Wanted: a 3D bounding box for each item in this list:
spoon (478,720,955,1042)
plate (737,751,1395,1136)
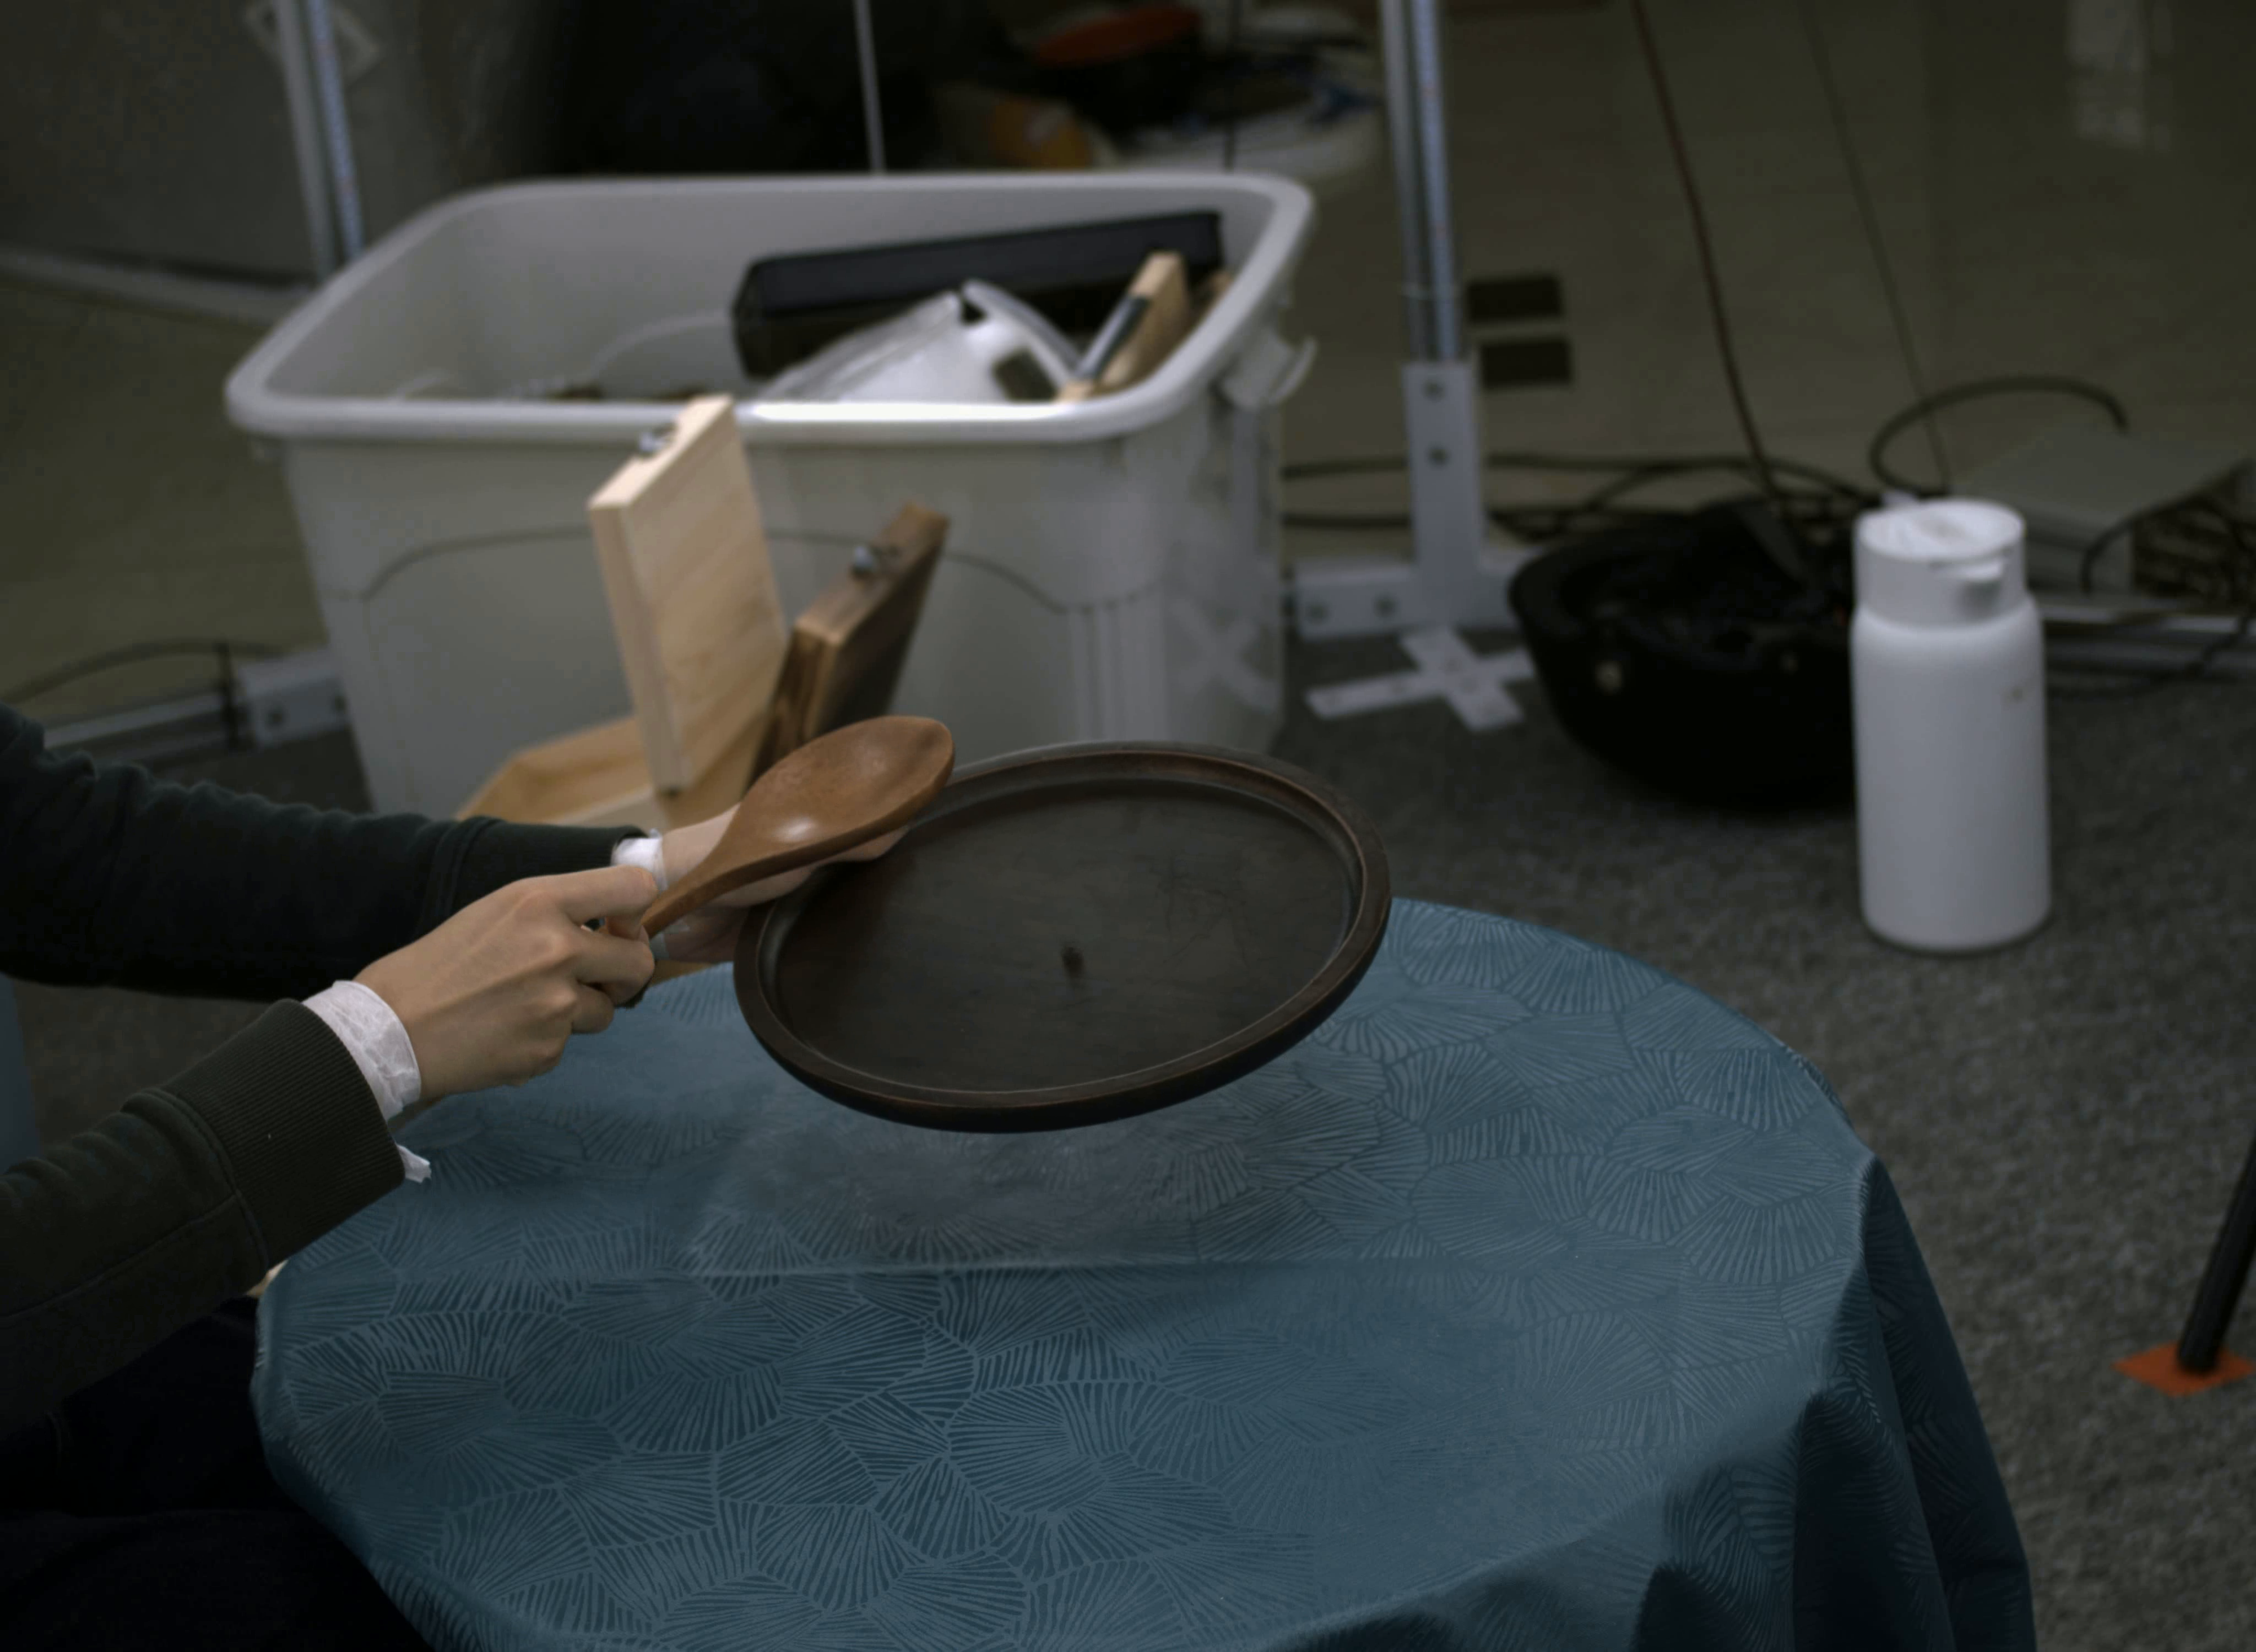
[{"bbox_3d":[-0.153,0.021,2.106,0.214,0.017,0.075,-33,35,-24],"label":"spoon"},{"bbox_3d":[-0.023,0.043,2.146,0.254,0.029,0.250,-7,31,4],"label":"plate"}]
